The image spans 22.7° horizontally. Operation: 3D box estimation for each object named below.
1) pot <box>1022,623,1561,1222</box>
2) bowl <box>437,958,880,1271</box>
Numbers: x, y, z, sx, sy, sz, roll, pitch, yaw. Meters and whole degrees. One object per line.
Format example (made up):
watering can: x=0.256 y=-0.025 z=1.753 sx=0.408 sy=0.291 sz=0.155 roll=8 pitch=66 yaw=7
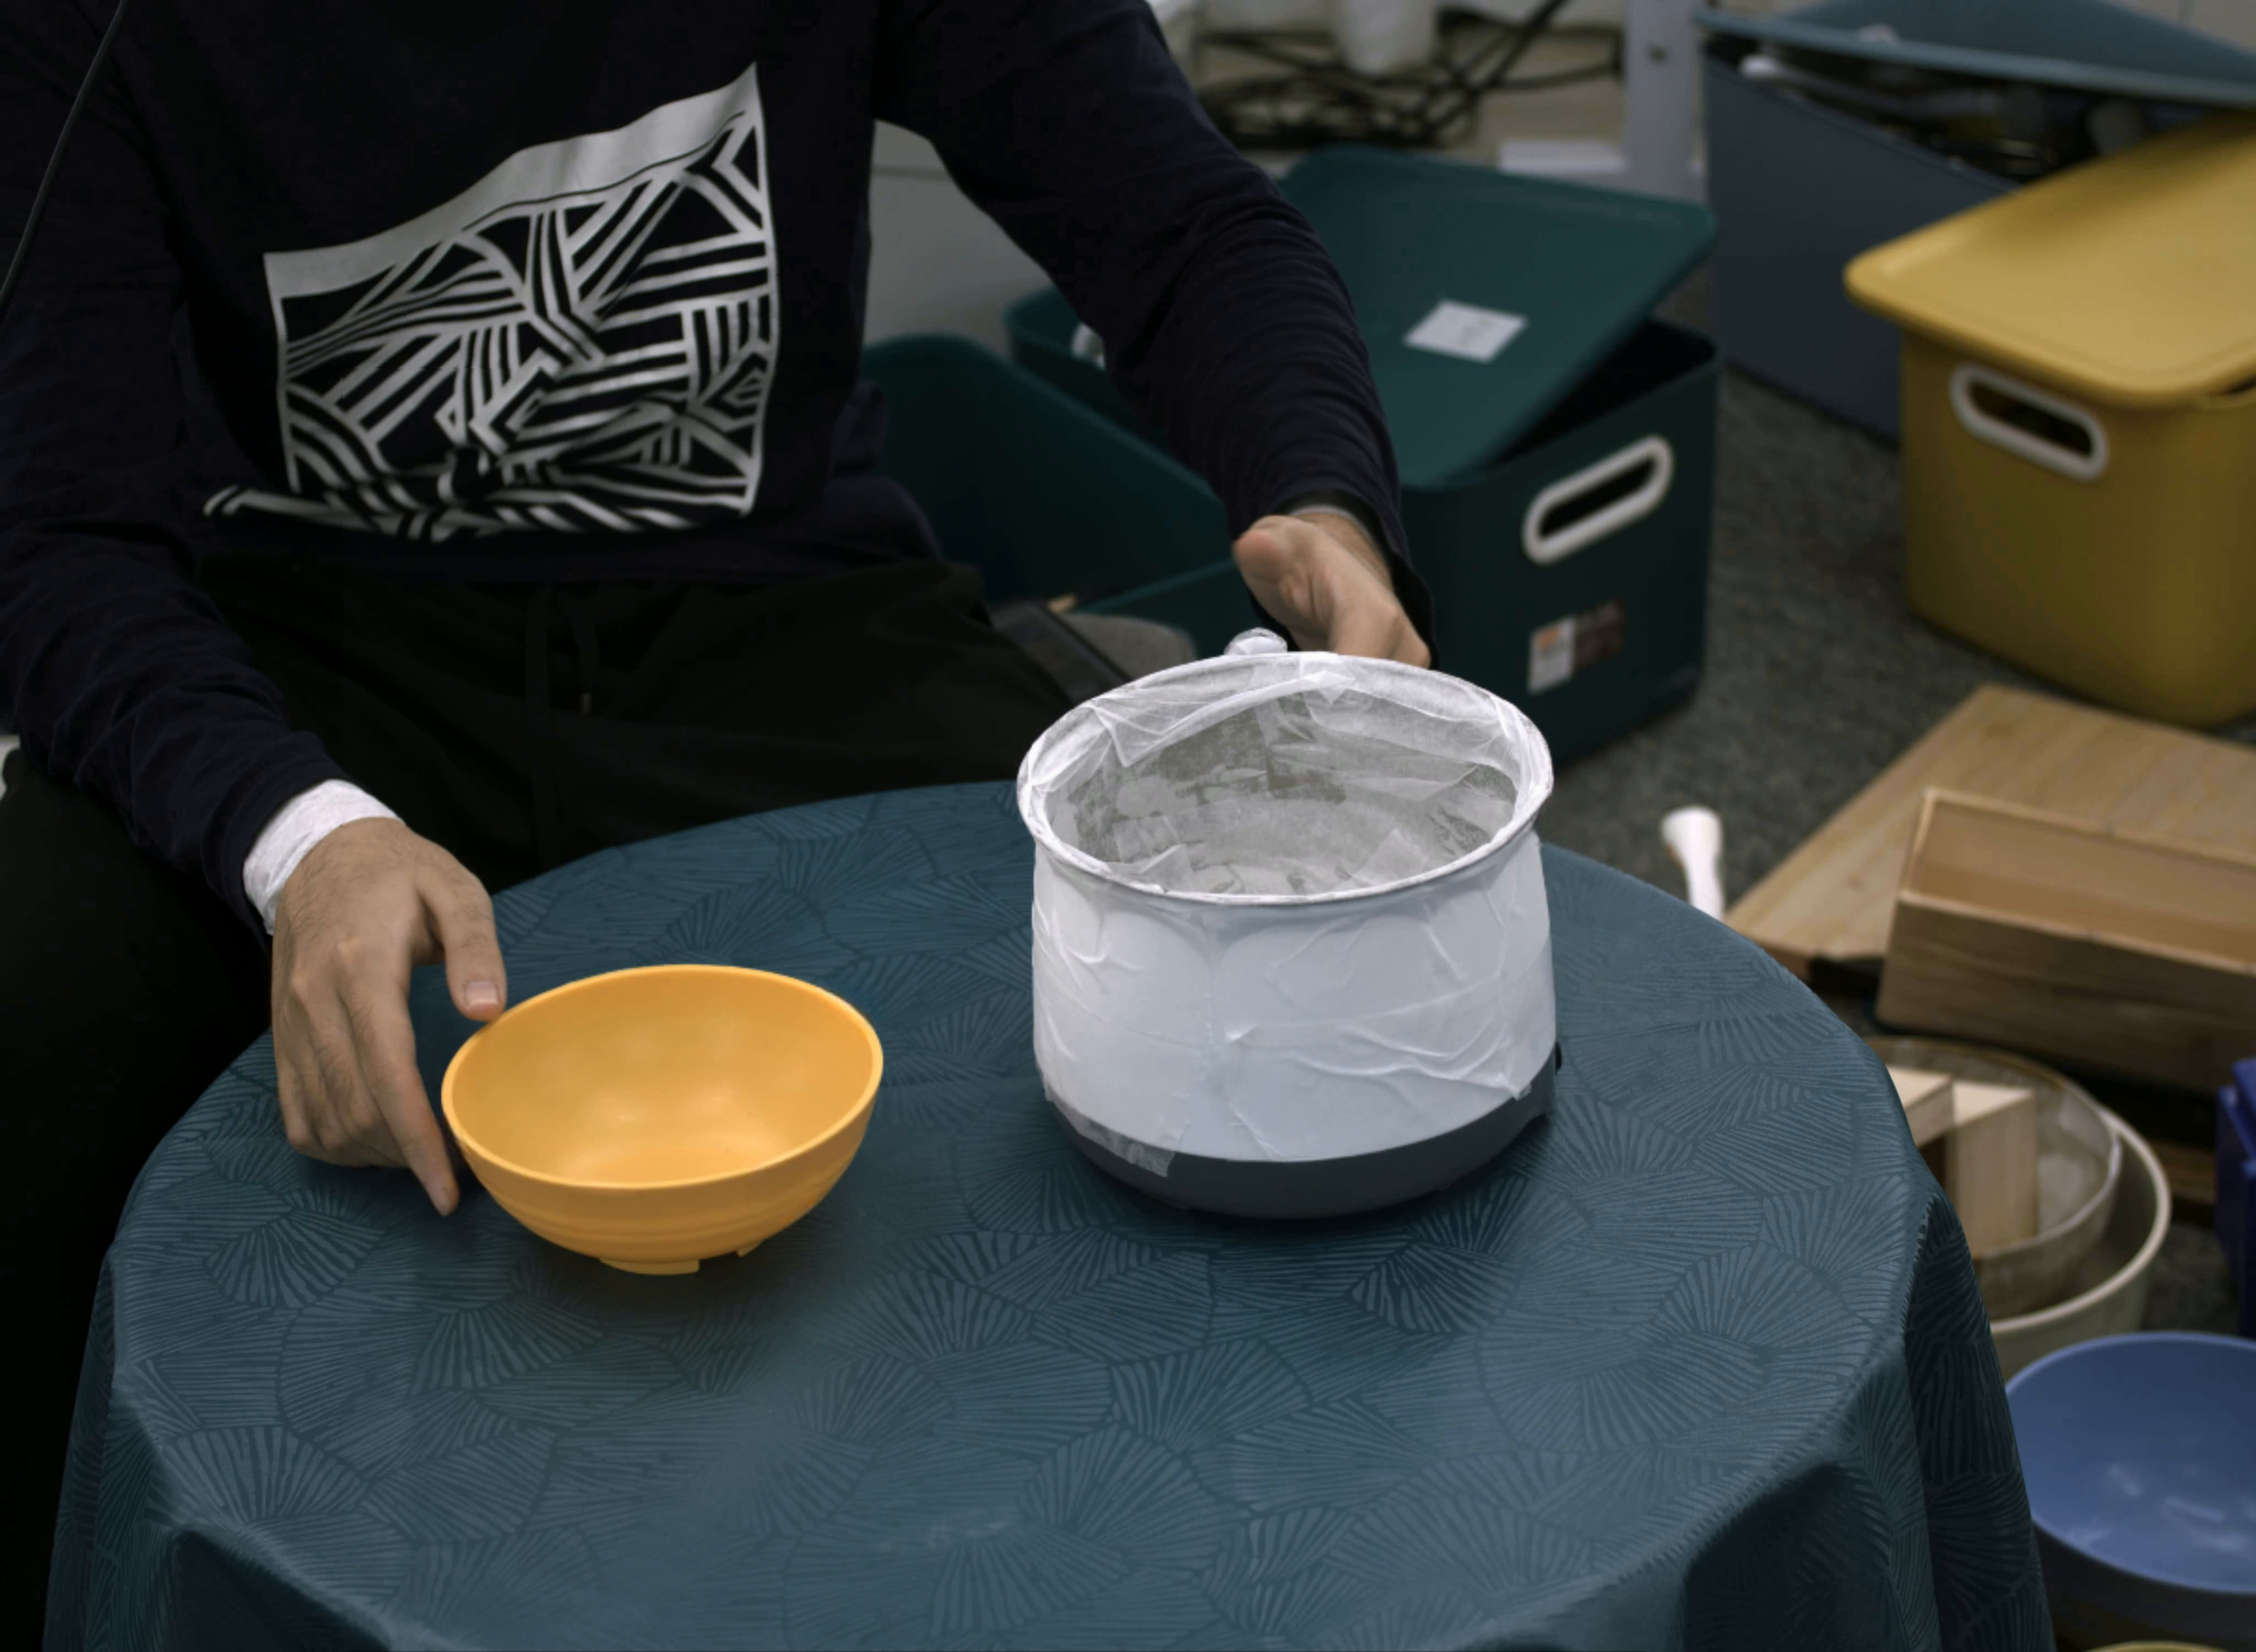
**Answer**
pot: x=0.051 y=0.025 z=1.895 sx=0.178 sy=0.135 sz=0.237 roll=-3 pitch=27 yaw=-5
bowl: x=-0.152 y=0.104 z=1.842 sx=0.144 sy=0.059 sz=0.147 roll=-1 pitch=28 yaw=1
